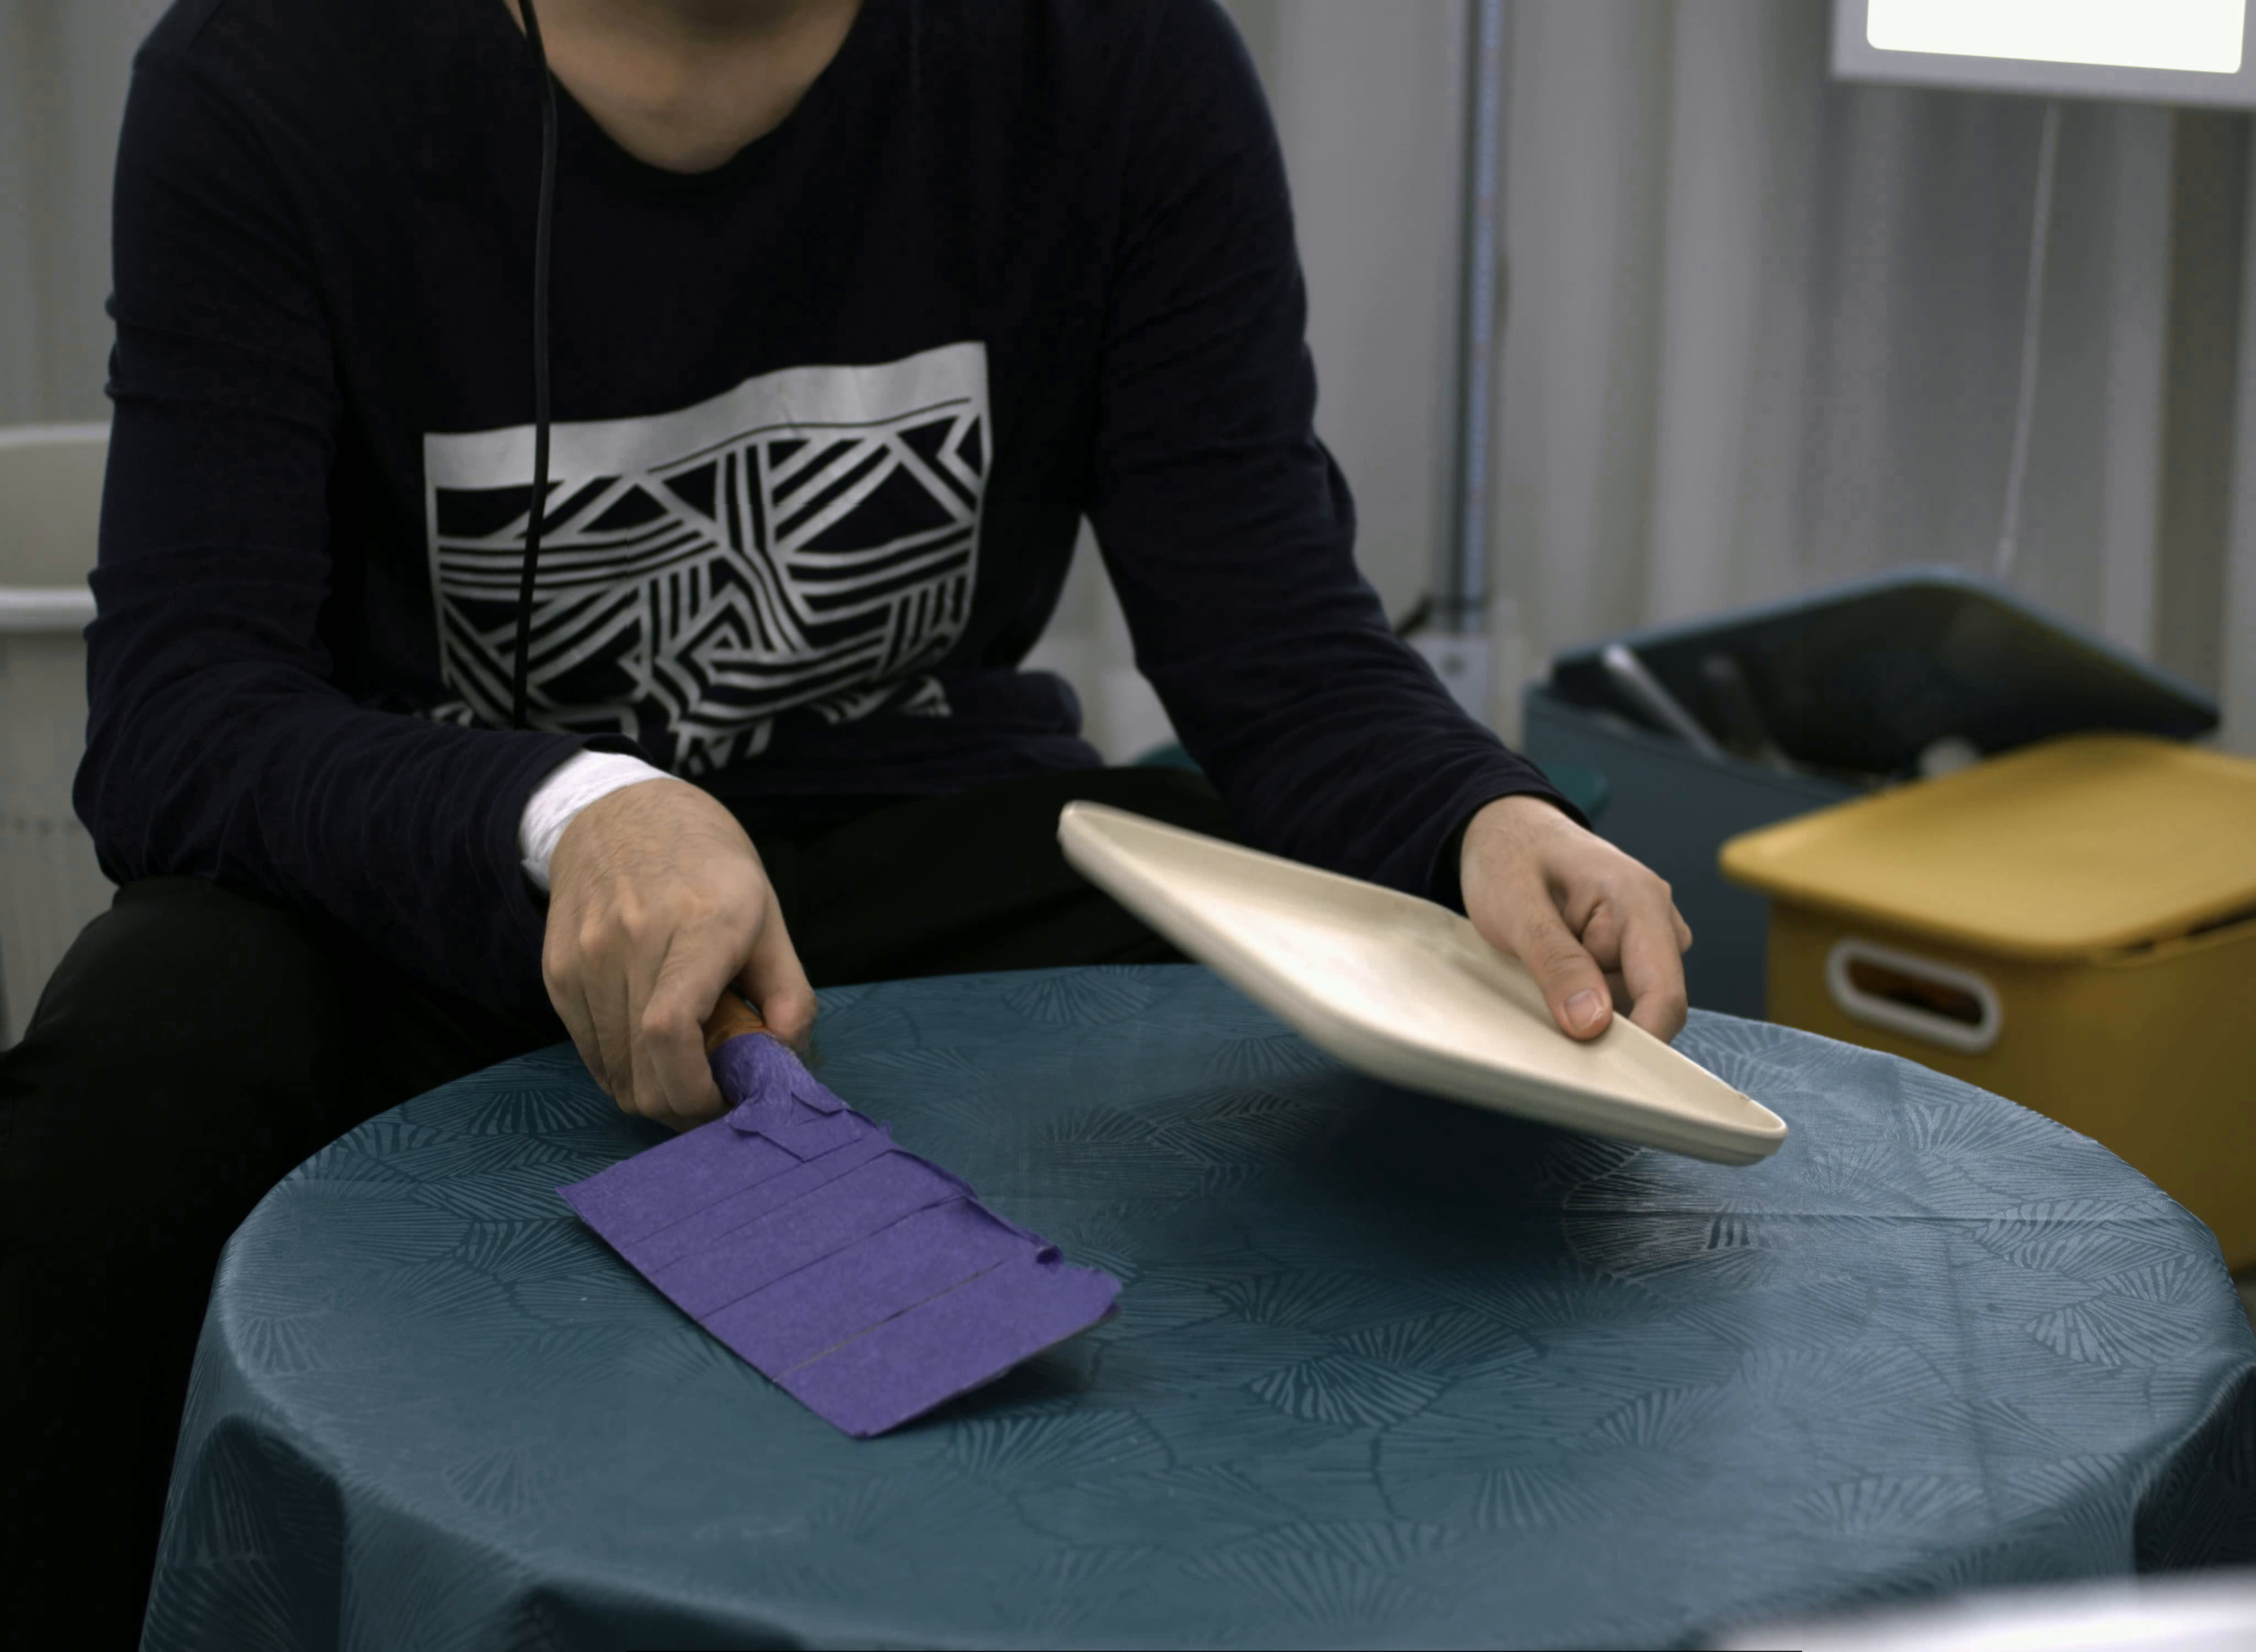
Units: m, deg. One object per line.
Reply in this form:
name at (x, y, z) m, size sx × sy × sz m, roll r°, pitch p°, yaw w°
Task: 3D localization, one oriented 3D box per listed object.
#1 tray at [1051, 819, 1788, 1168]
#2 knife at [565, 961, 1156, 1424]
tray at (0.085, 0.052, 1.628) m, size 0.172 × 0.017 × 0.237 m, roll 14°, pitch 10°, yaw -28°
knife at (-0.110, 0.104, 1.564) m, size 0.104 × 0.032 × 0.311 m, roll -22°, pitch 24°, yaw -23°
